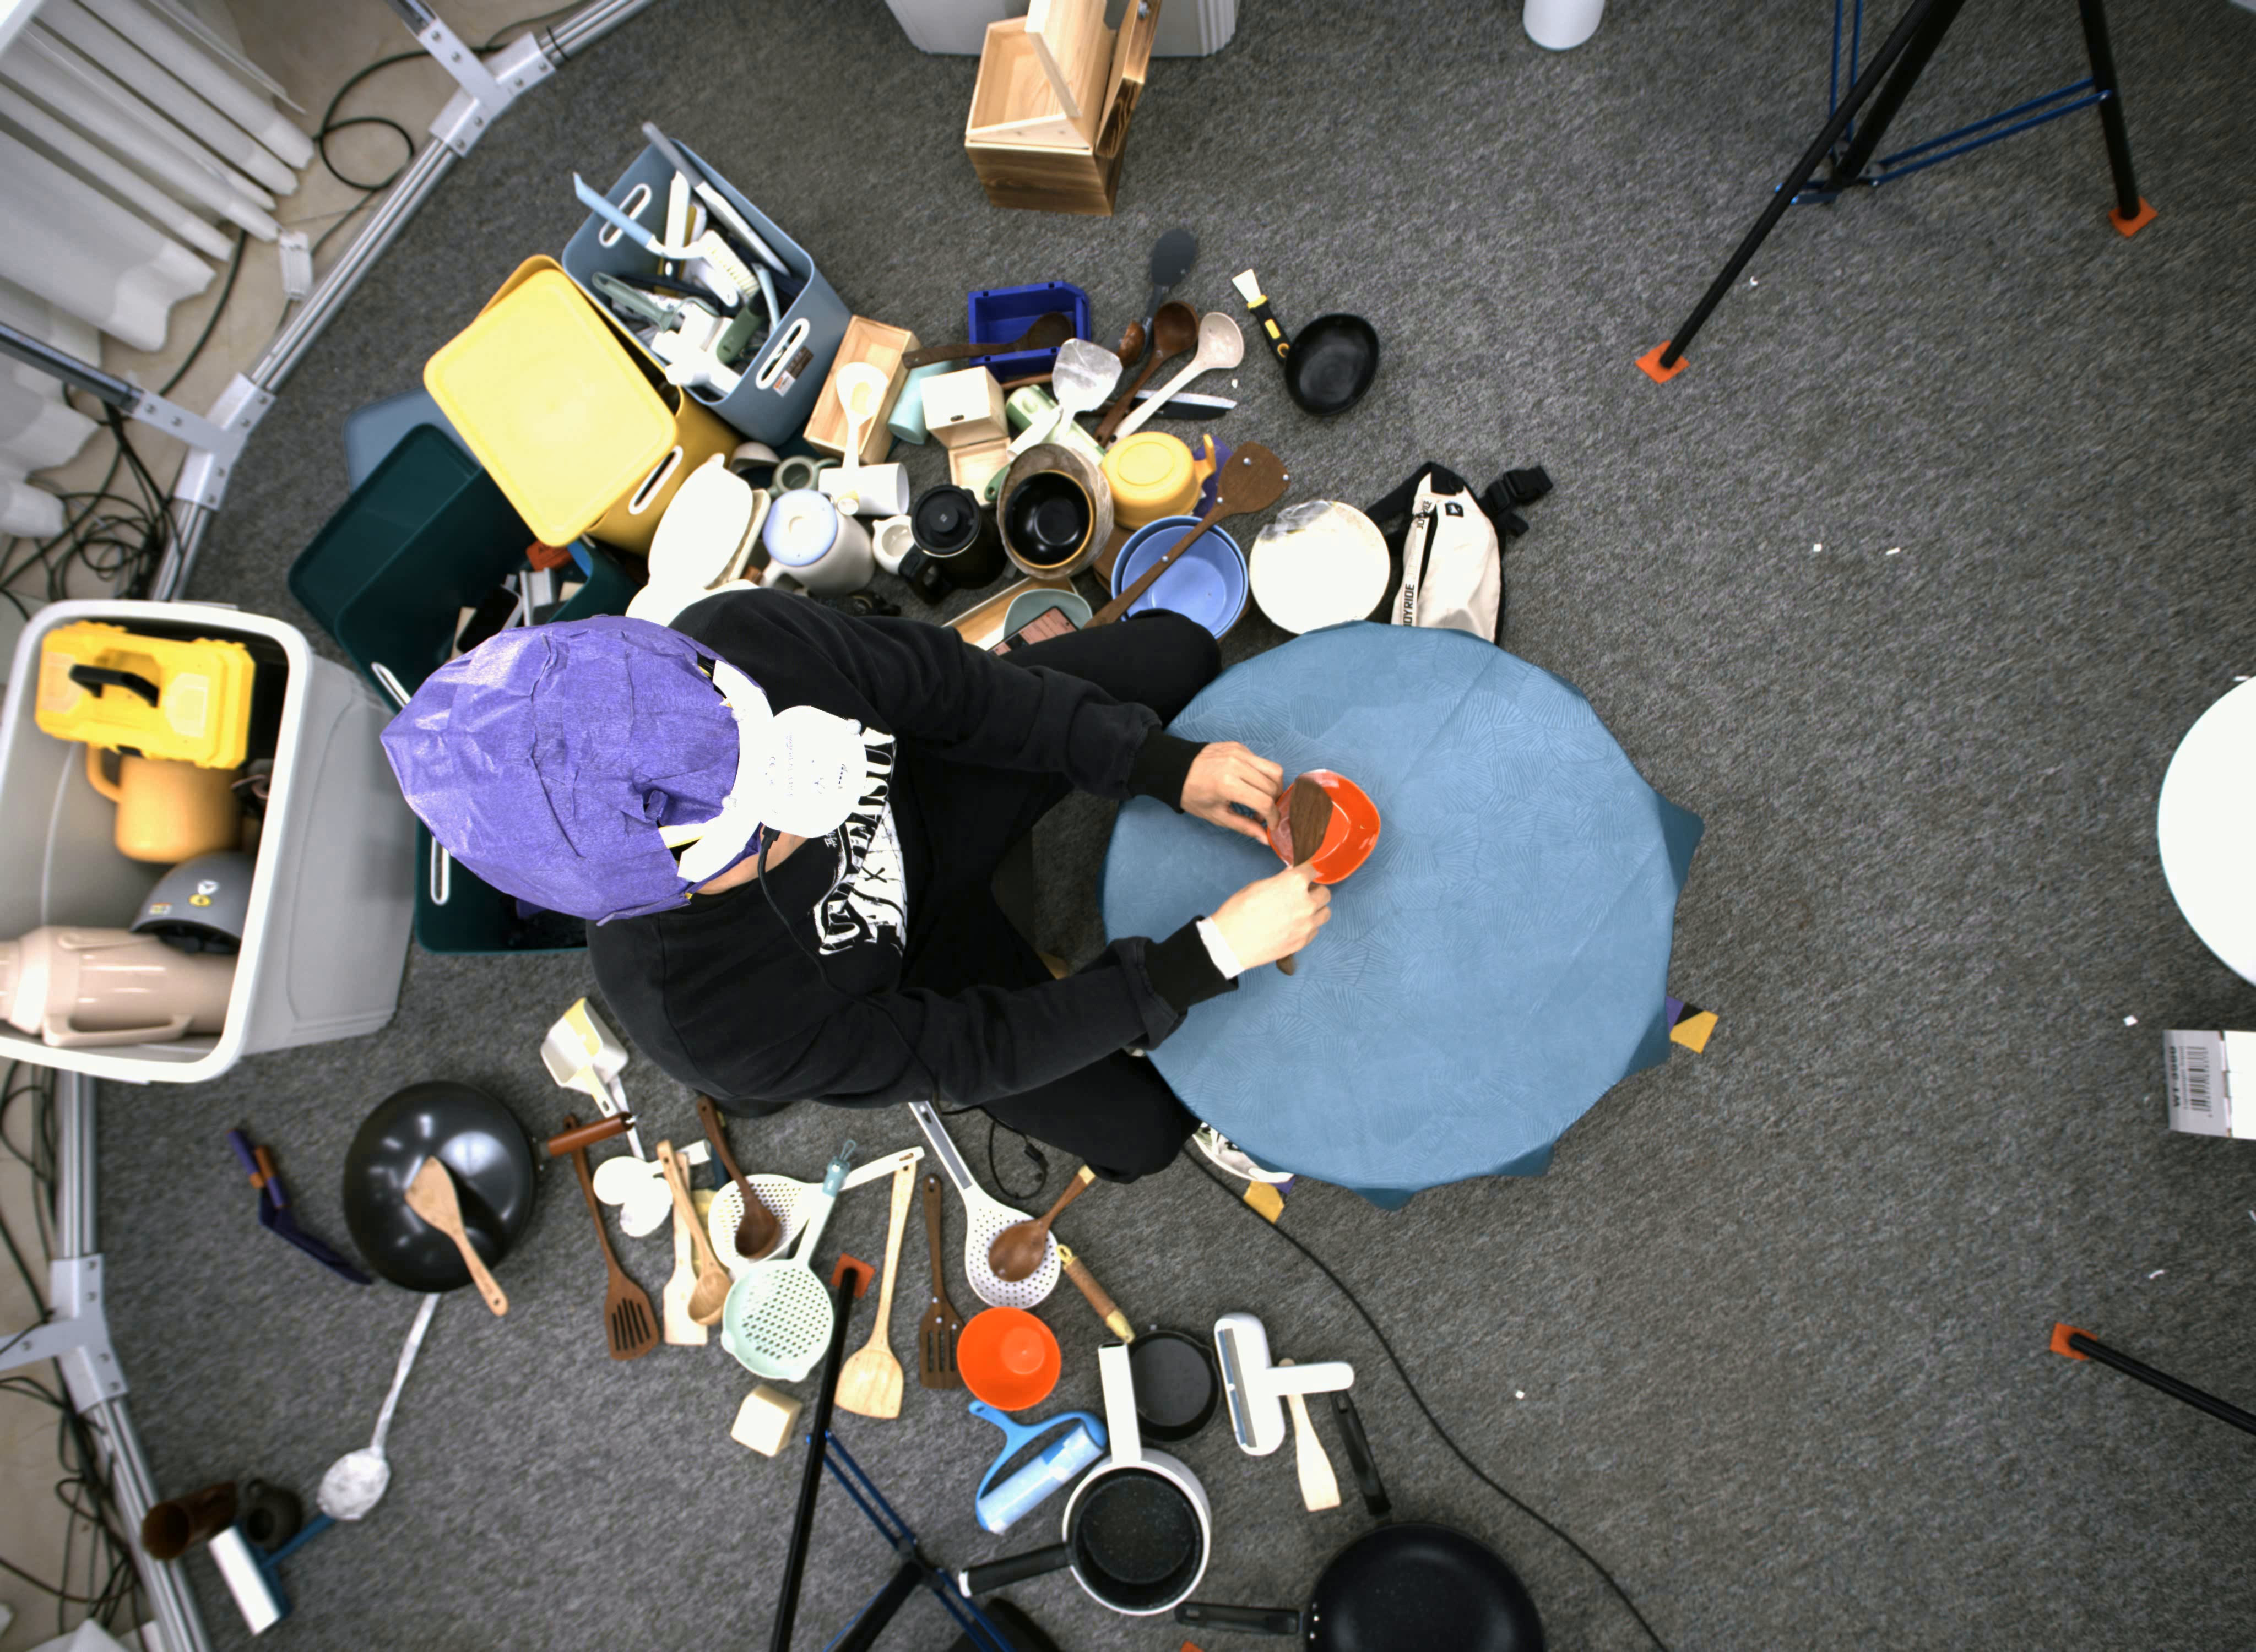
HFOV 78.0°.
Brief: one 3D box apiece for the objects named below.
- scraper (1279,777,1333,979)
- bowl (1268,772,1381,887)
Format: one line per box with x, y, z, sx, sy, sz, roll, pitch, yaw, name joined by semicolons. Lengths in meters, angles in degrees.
0.172;0.052;1.381;0.011;0.076;0.207;-7;59;36;scraper
0.202;0.002;1.449;0.119;0.051;0.119;0;94;-4;bowl
